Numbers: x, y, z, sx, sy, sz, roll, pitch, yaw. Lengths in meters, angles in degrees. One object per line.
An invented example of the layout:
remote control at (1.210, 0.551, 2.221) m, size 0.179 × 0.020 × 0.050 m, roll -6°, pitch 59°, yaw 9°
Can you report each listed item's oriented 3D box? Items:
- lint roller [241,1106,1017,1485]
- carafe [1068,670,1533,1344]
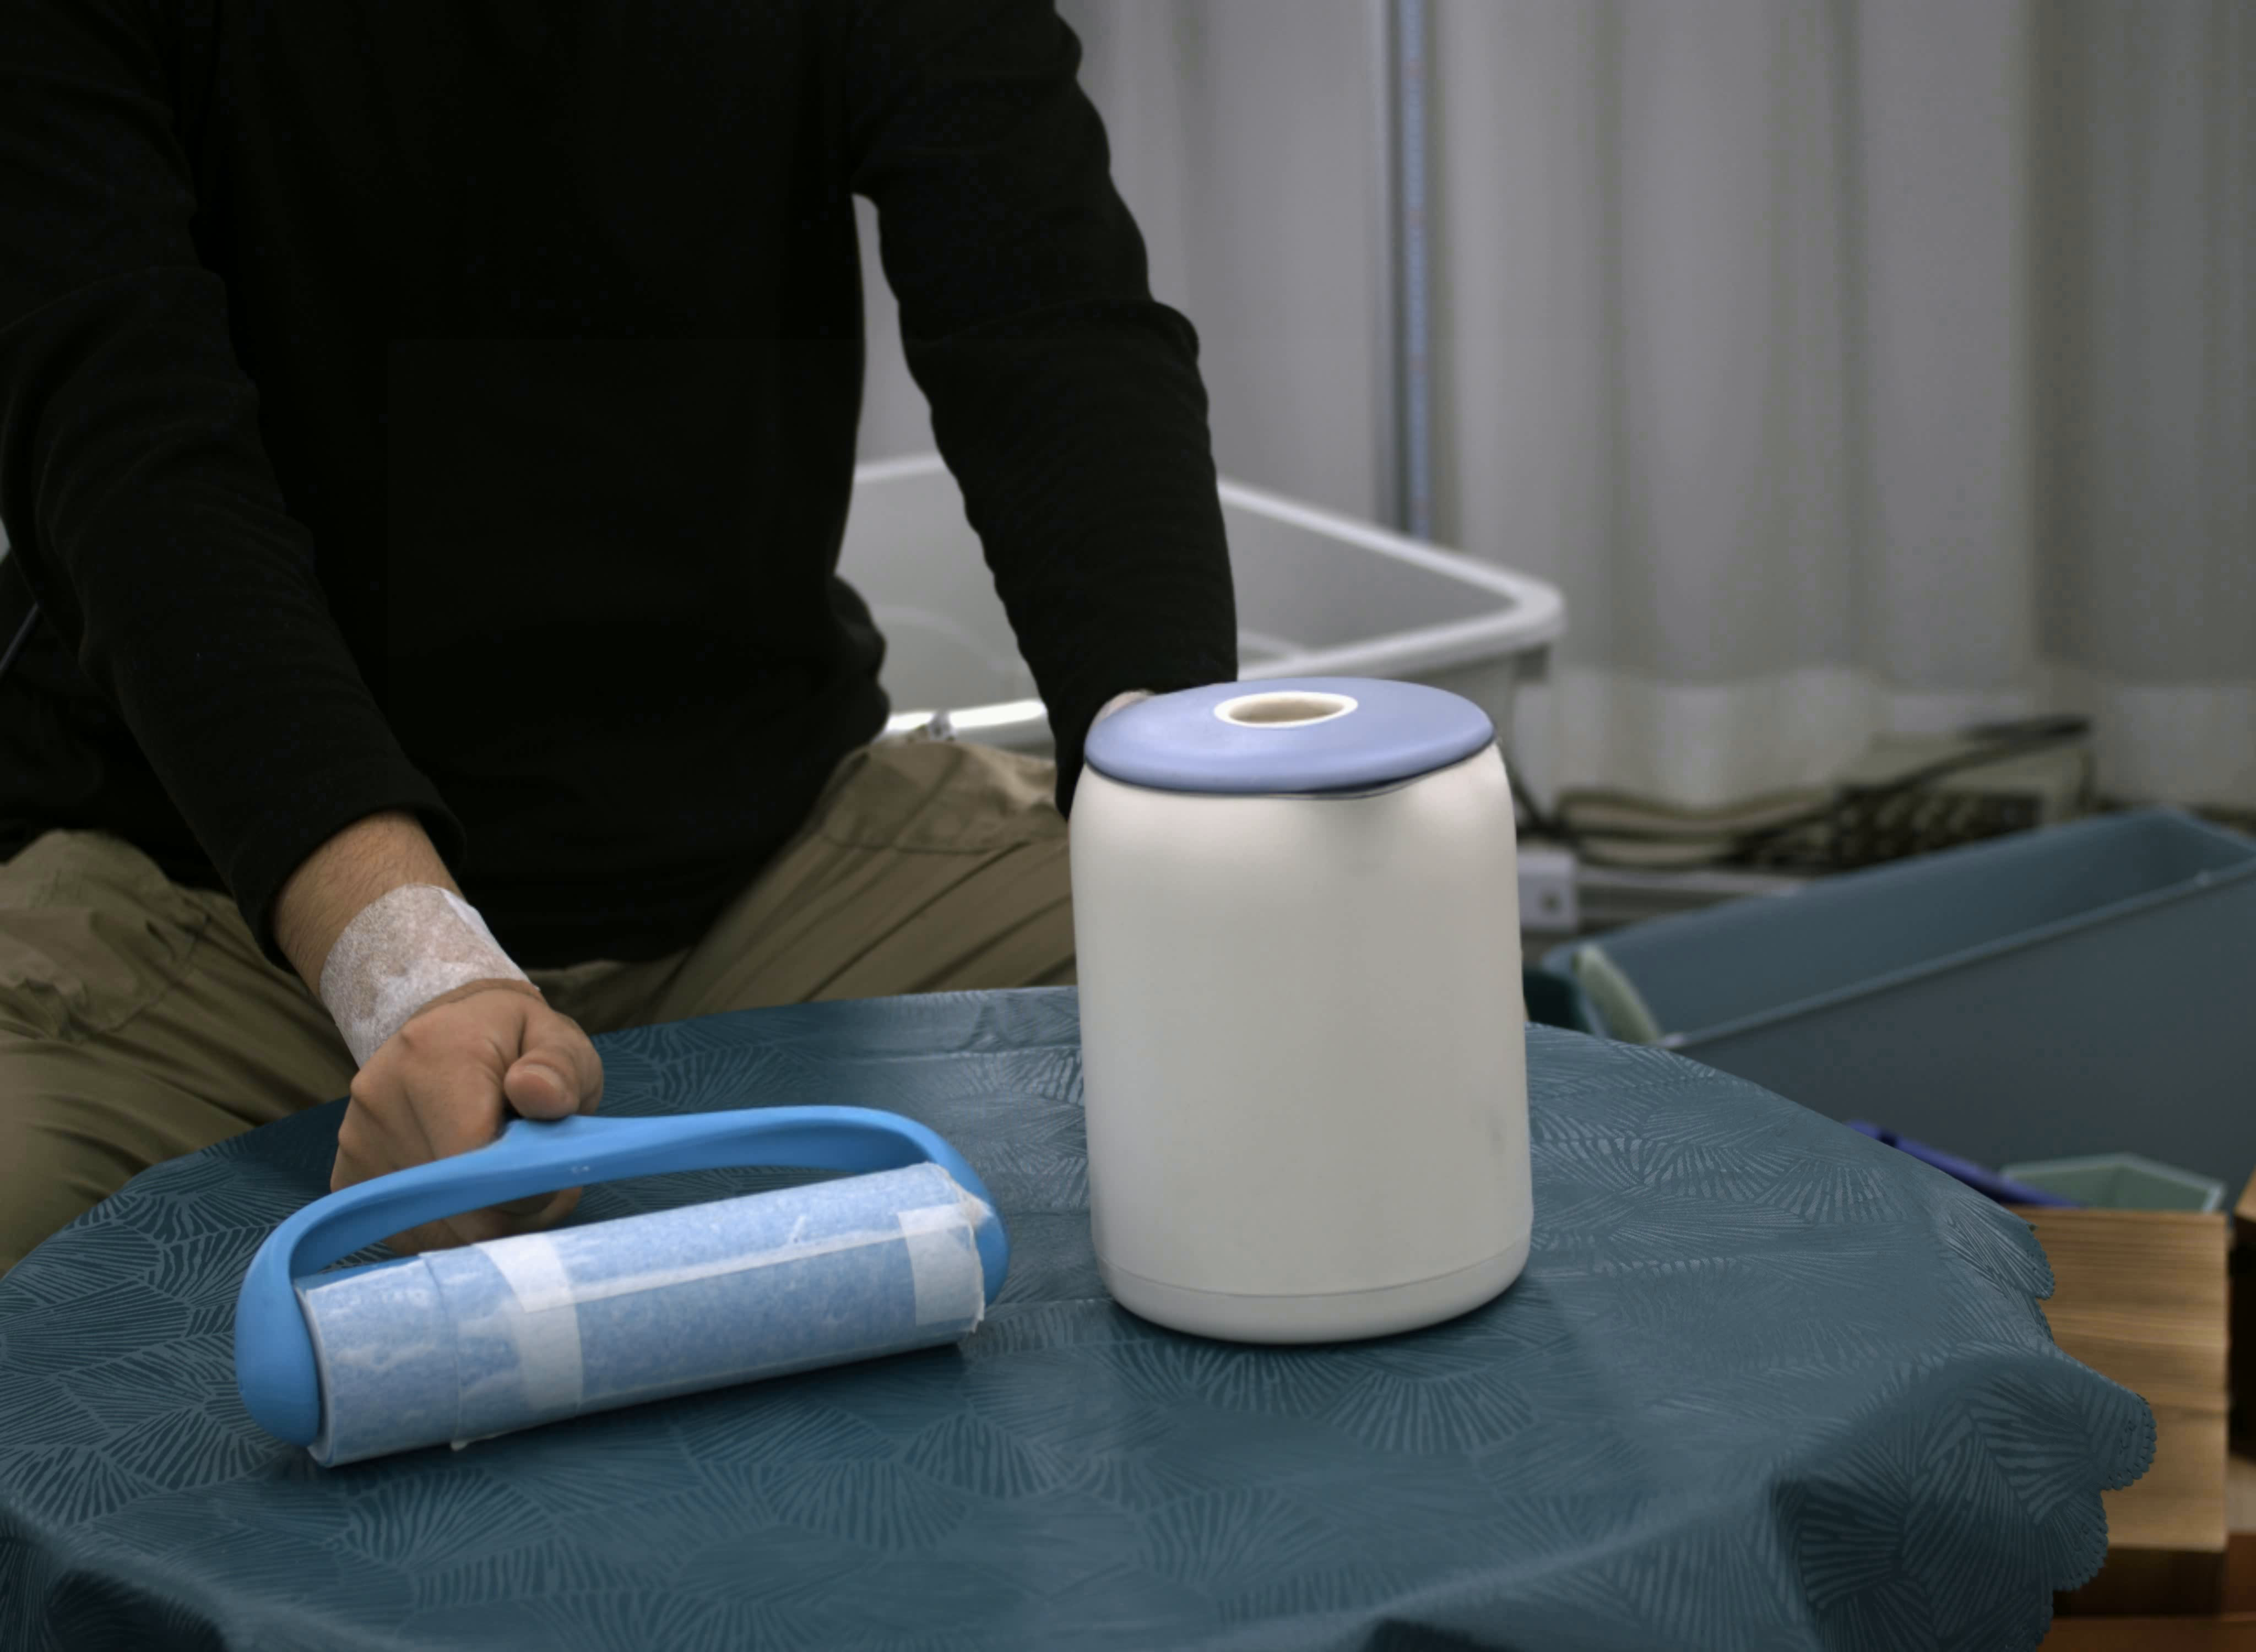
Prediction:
lint roller at (-0.165, 0.116, 1.603) m, size 0.228 × 0.067 × 0.182 m, roll -13°, pitch 28°, yaw -22°
carafe at (0.043, 0.047, 1.627) m, size 0.131 × 0.182 × 0.192 m, roll -7°, pitch 11°, yaw -18°
